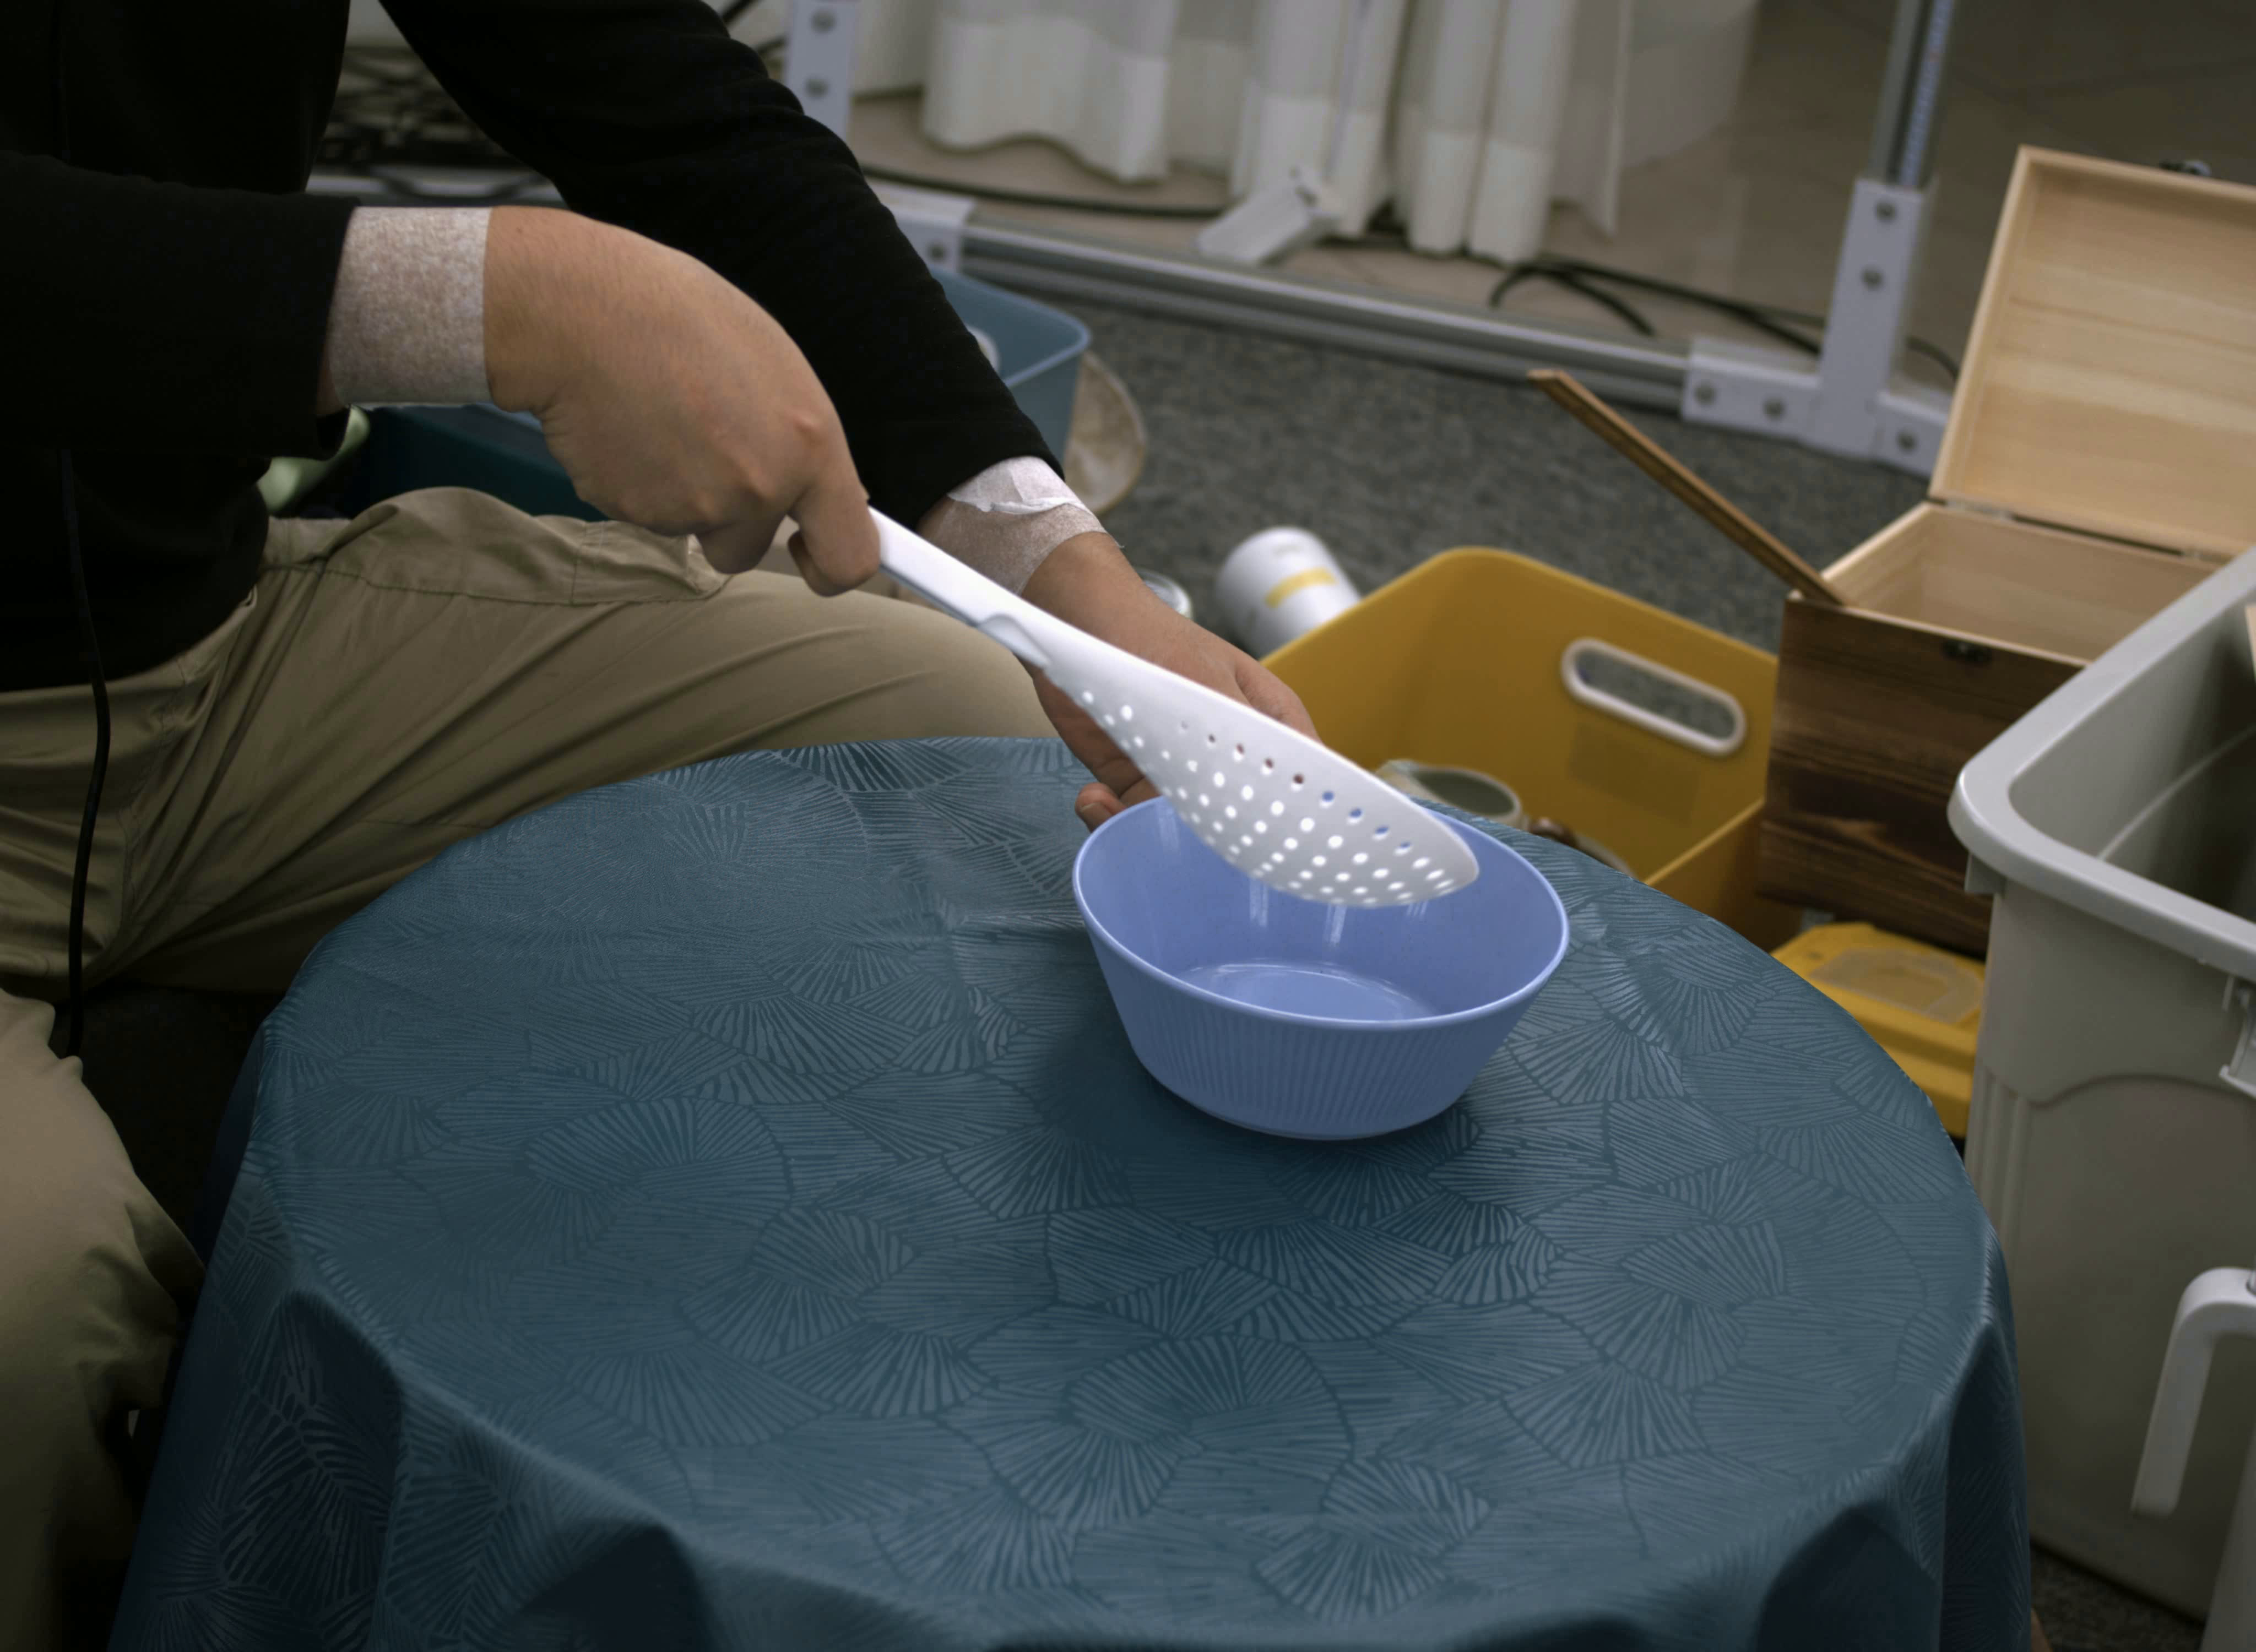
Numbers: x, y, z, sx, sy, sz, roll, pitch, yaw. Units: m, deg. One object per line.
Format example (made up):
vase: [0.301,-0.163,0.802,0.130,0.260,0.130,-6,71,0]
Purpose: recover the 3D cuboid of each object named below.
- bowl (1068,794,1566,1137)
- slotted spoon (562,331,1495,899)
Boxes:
bowl: [0.063,0.053,1.877,0.175,0.070,0.177,4,26,-2]
slotted spoon: [-0.034,-0.068,1.756,0.349,0.046,0.136,35,-7,-5]
